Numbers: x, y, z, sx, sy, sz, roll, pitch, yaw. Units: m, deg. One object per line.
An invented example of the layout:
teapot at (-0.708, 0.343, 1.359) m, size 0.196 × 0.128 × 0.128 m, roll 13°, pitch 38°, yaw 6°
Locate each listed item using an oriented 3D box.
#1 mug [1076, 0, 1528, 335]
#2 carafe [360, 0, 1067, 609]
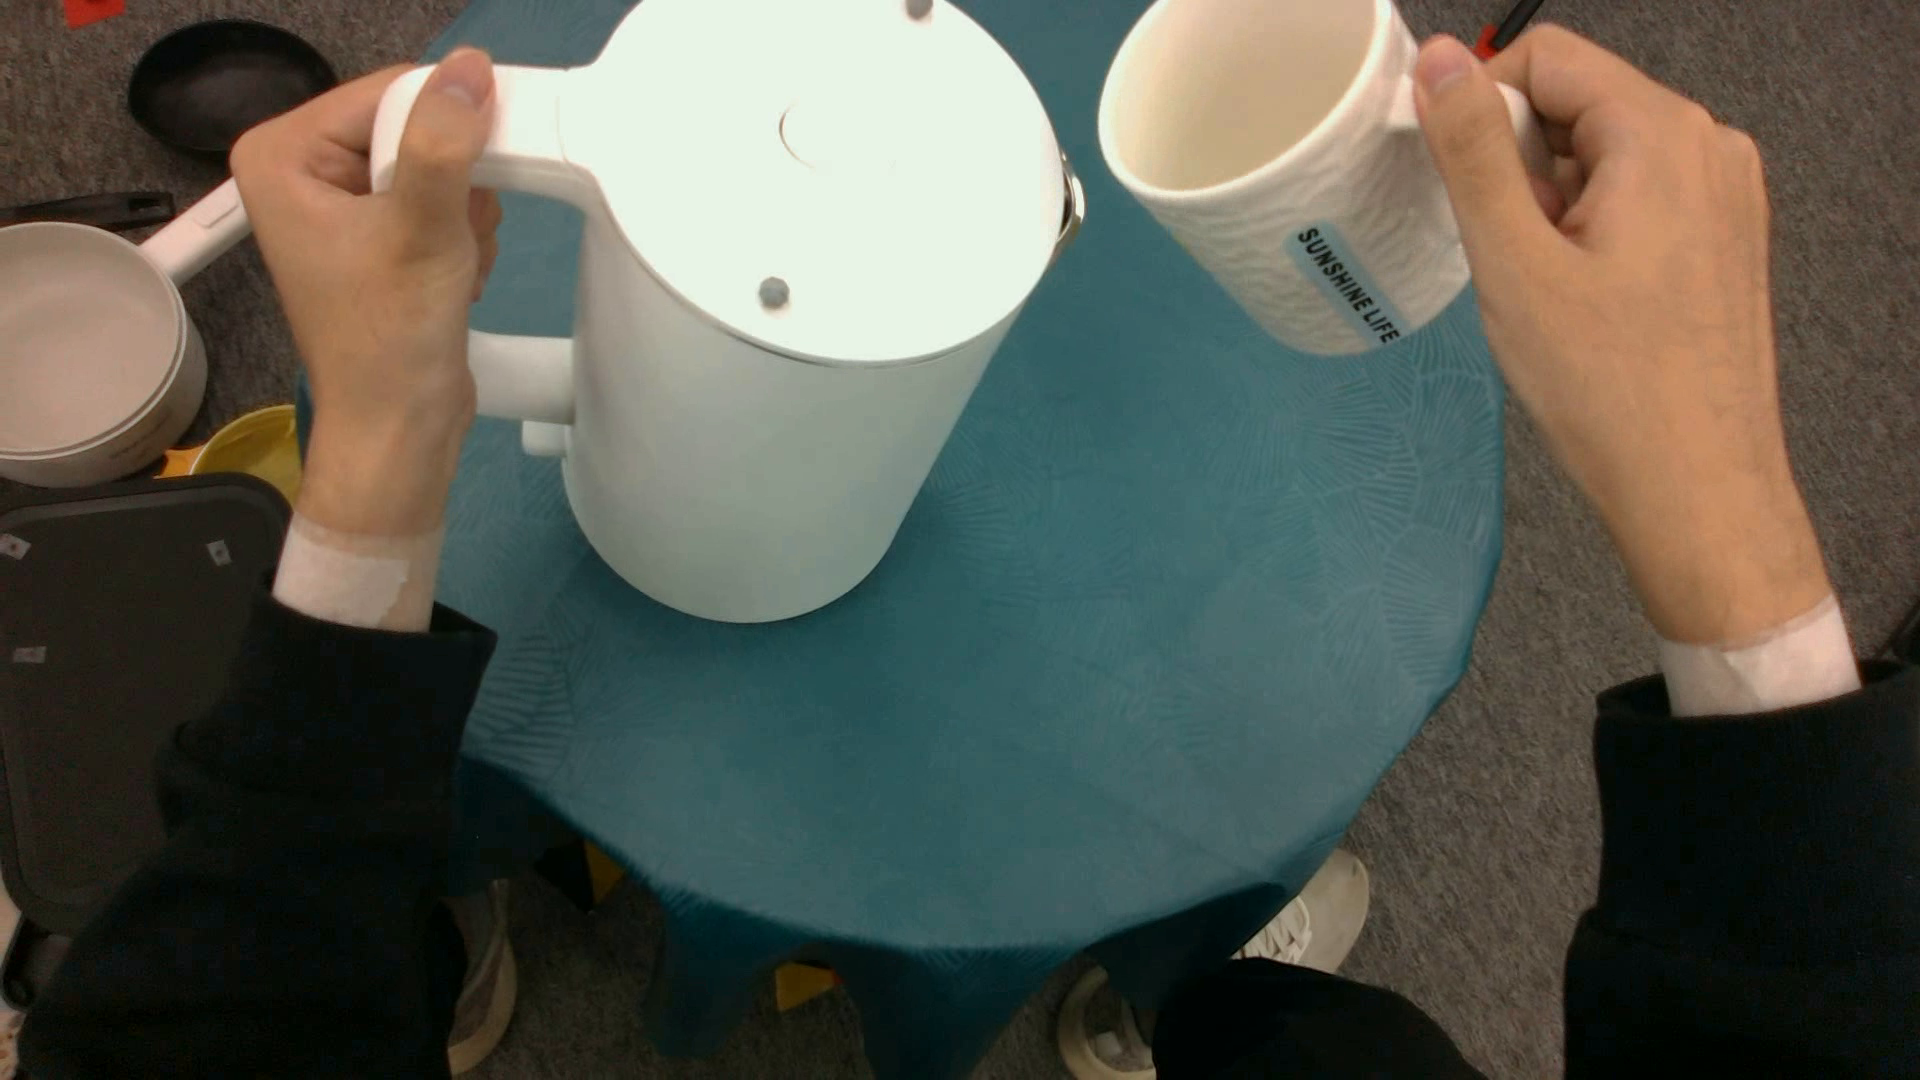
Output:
mug at (0.110, -0.118, 0.411) m, size 0.102 × 0.118 × 0.085 m, roll 31°, pitch 79°, yaw -47°
carafe at (-0.098, -0.085, 0.505) m, size 0.213 × 0.239 × 0.152 m, roll 3°, pitch 67°, yaw -18°
